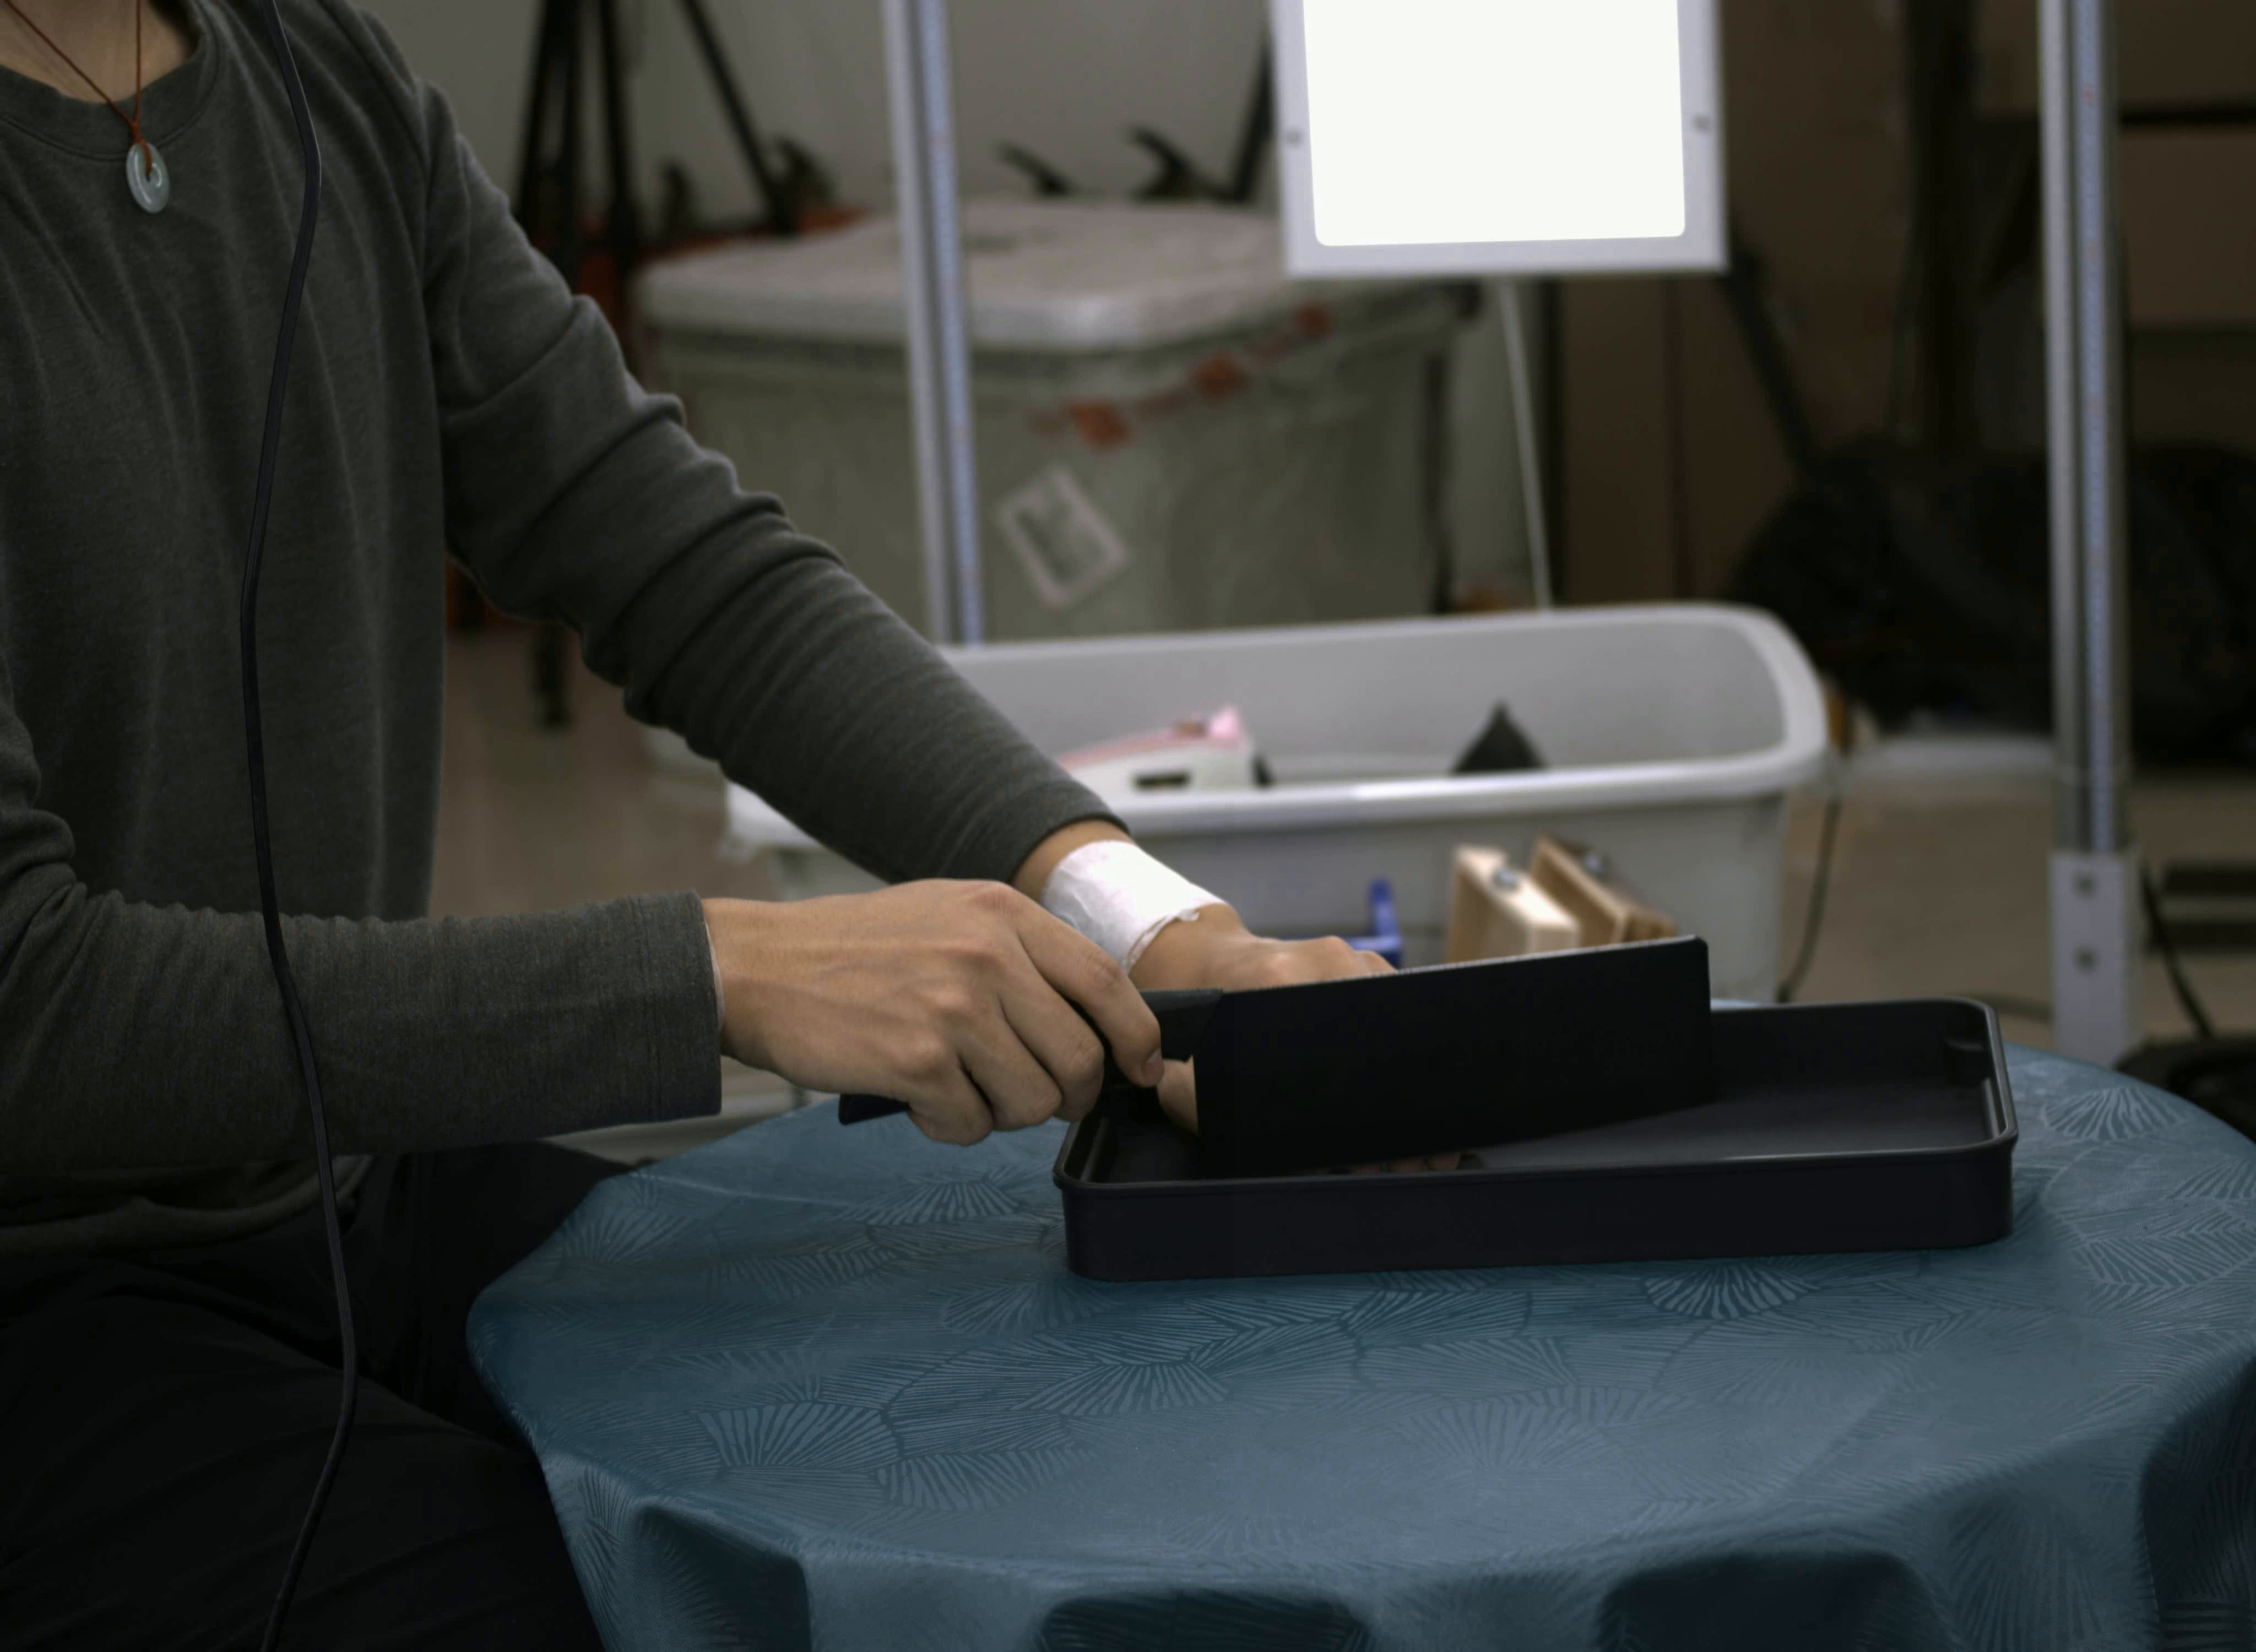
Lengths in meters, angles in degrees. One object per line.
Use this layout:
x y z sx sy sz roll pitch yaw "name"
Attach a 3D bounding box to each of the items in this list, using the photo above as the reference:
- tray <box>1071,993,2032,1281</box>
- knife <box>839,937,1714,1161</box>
0.145 0.104 1.865 0.319 0.037 0.183 -3 14 7 "tray"
0.053 0.081 1.850 0.299 0.081 0.021 -2 14 -7 "knife"
